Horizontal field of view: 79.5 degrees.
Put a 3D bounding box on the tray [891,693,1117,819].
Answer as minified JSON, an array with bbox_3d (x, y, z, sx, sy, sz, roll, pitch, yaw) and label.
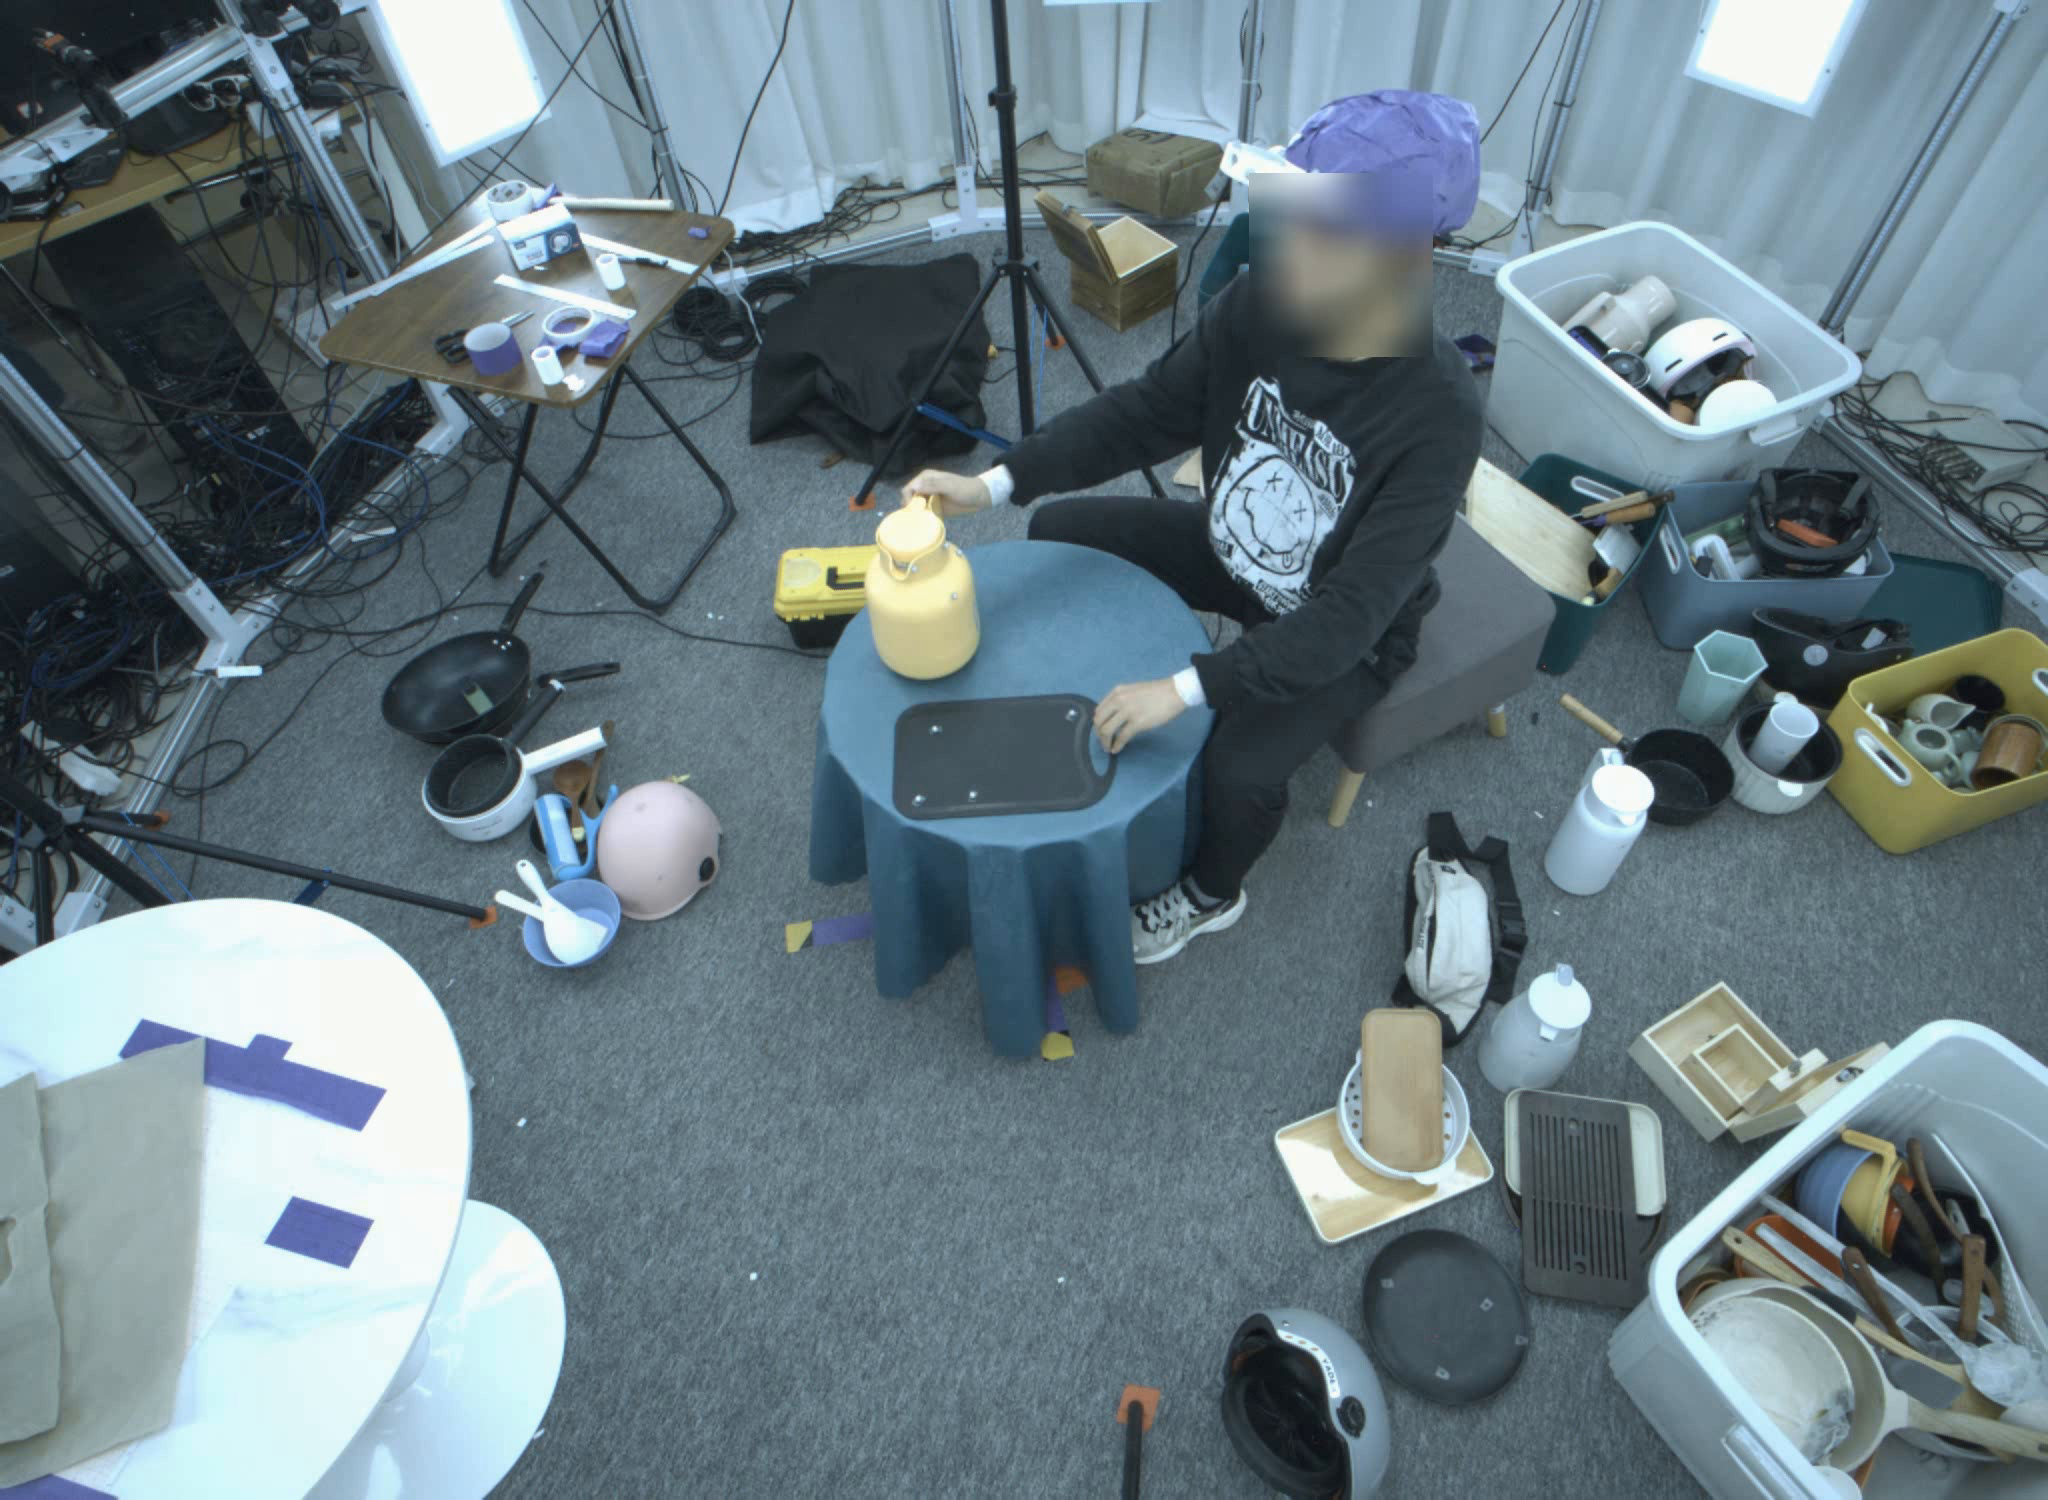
[{"bbox_3d":[-0.029,0.004,1.777,0.325,0.010,0.208,-3,55,0],"label":"tray"}]

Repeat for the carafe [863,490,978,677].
[{"bbox_3d":[-0.150,-0.252,1.805,0.163,0.263,0.201,10,57,7],"label":"carafe"}]
